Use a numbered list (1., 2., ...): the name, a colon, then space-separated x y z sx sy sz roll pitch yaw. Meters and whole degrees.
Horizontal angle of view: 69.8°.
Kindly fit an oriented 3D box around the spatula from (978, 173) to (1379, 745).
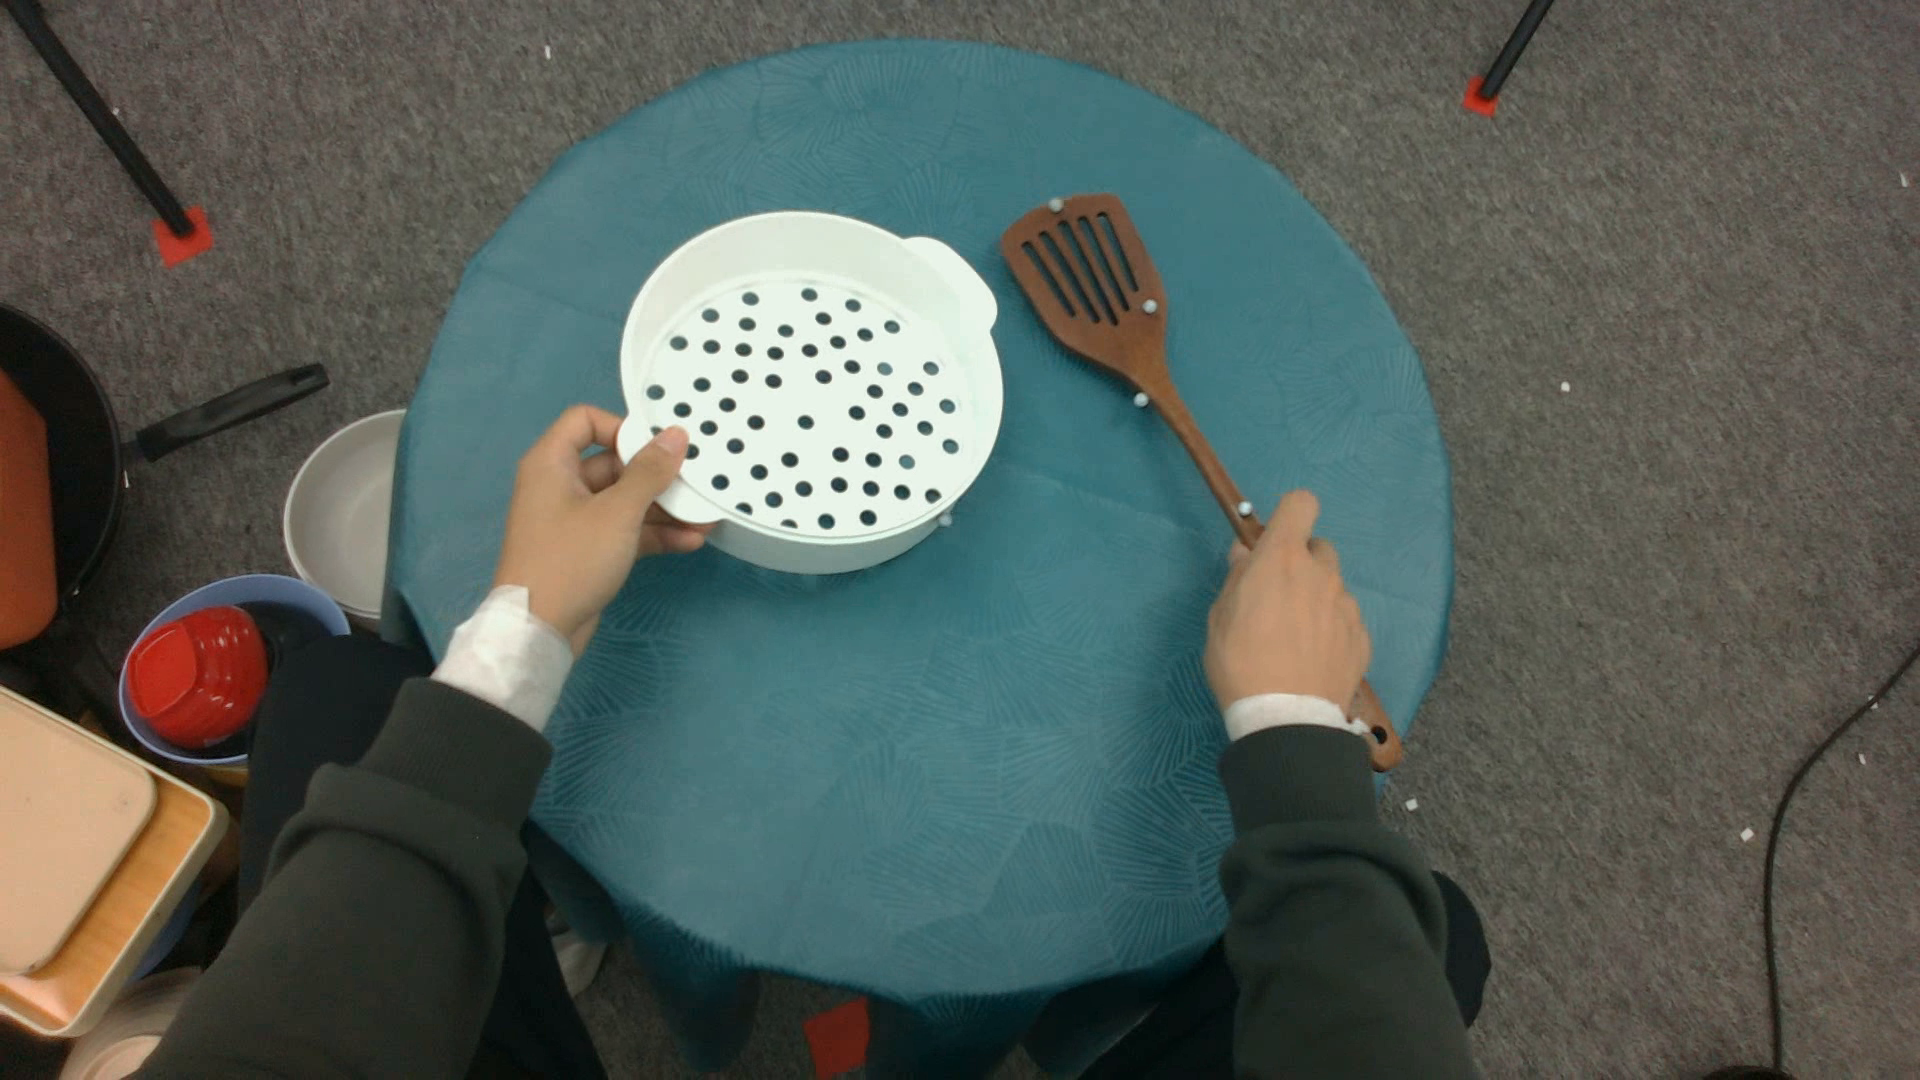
1. spatula: 0.127 -0.056 0.777 0.086 0.023 0.386 -21 68 -18

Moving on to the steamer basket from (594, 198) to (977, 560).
1. steamer basket: -0.094 -0.086 0.752 0.202 0.069 0.231 44 66 9
